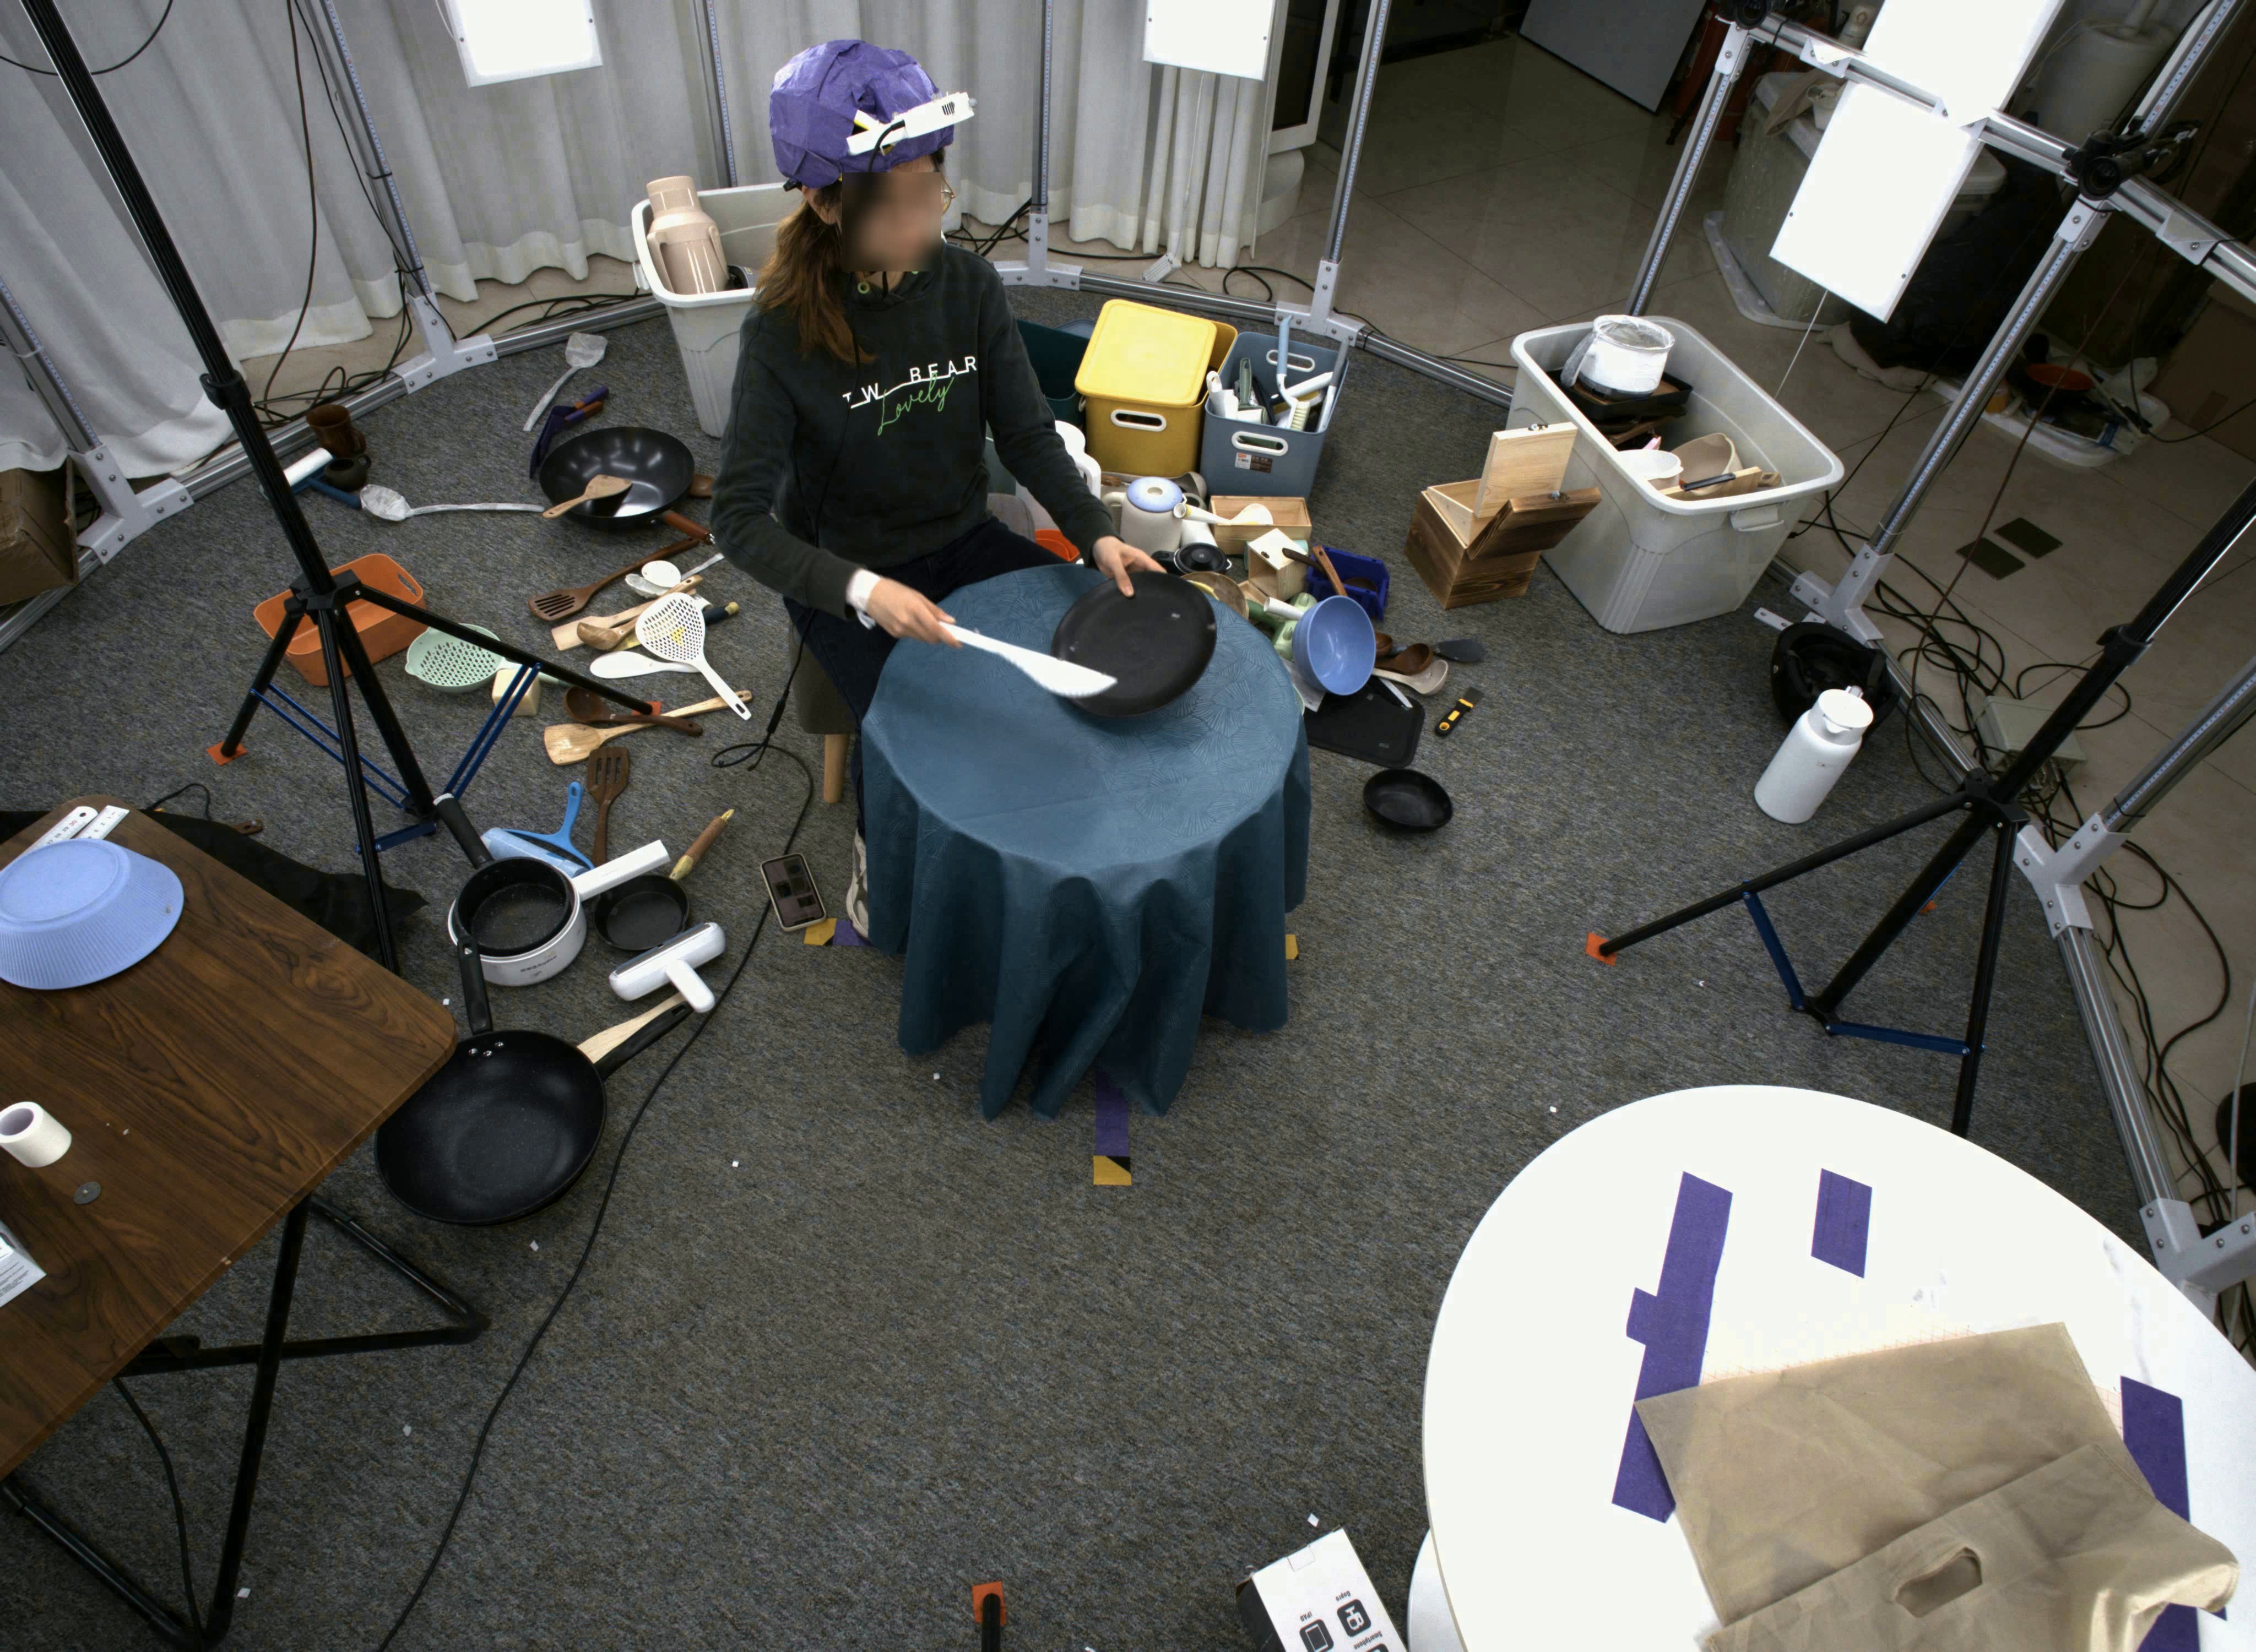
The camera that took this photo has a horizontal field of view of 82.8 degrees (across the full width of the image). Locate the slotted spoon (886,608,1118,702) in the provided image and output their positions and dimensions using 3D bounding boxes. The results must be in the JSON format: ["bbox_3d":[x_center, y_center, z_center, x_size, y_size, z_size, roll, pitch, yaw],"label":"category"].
[{"bbox_3d":[-0.174,-0.232,1.701,0.353,0.045,0.135,26,10,21],"label":"slotted spoon"}]

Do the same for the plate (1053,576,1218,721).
[{"bbox_3d":[0.011,-0.251,1.831,0.244,0.023,0.250,-8,60,14],"label":"plate"}]
